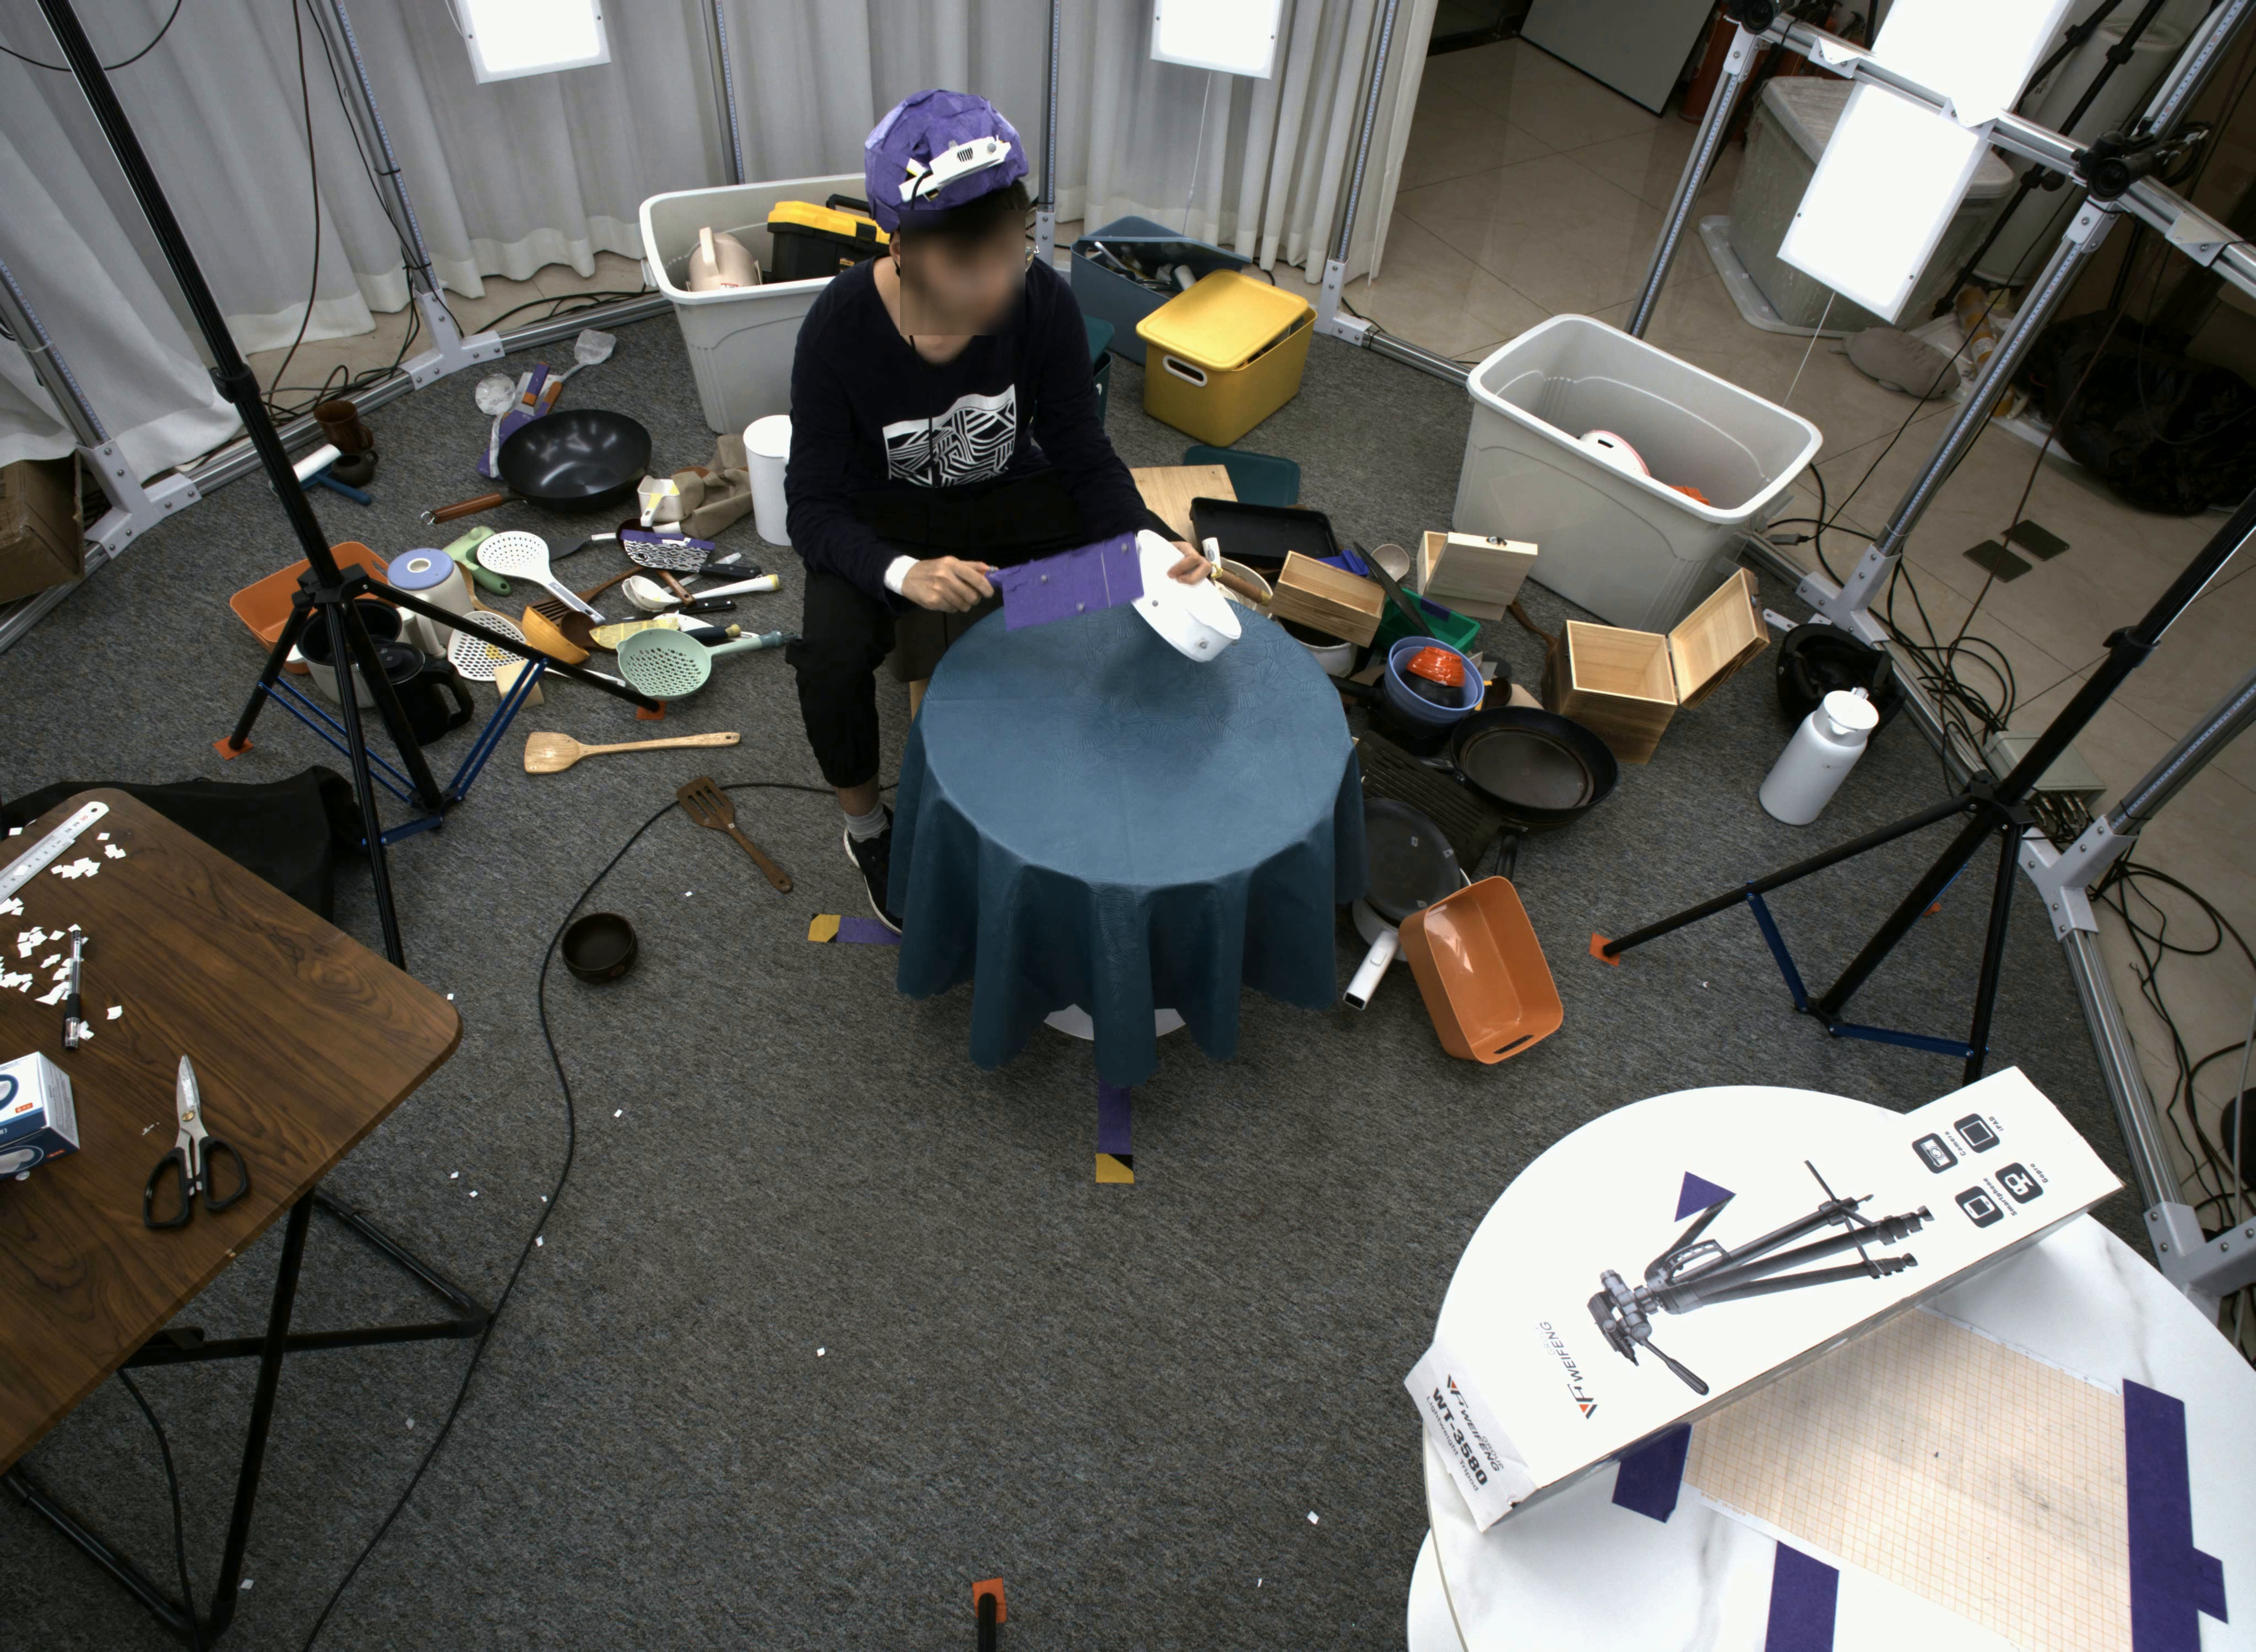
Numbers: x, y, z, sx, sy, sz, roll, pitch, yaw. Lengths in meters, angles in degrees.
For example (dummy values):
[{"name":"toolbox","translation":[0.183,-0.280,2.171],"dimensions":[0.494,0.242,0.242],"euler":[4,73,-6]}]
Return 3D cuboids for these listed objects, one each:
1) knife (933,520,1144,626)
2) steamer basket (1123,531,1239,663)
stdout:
[{"name":"knife","translation":[-0.126,-0.328,1.764],"dimensions":[0.315,0.032,0.105],"euler":[-12,78,24]},{"name":"steamer basket","translation":[0.064,-0.315,1.785],"dimensions":[0.200,0.068,0.235],"euler":[42,19,-16]}]
